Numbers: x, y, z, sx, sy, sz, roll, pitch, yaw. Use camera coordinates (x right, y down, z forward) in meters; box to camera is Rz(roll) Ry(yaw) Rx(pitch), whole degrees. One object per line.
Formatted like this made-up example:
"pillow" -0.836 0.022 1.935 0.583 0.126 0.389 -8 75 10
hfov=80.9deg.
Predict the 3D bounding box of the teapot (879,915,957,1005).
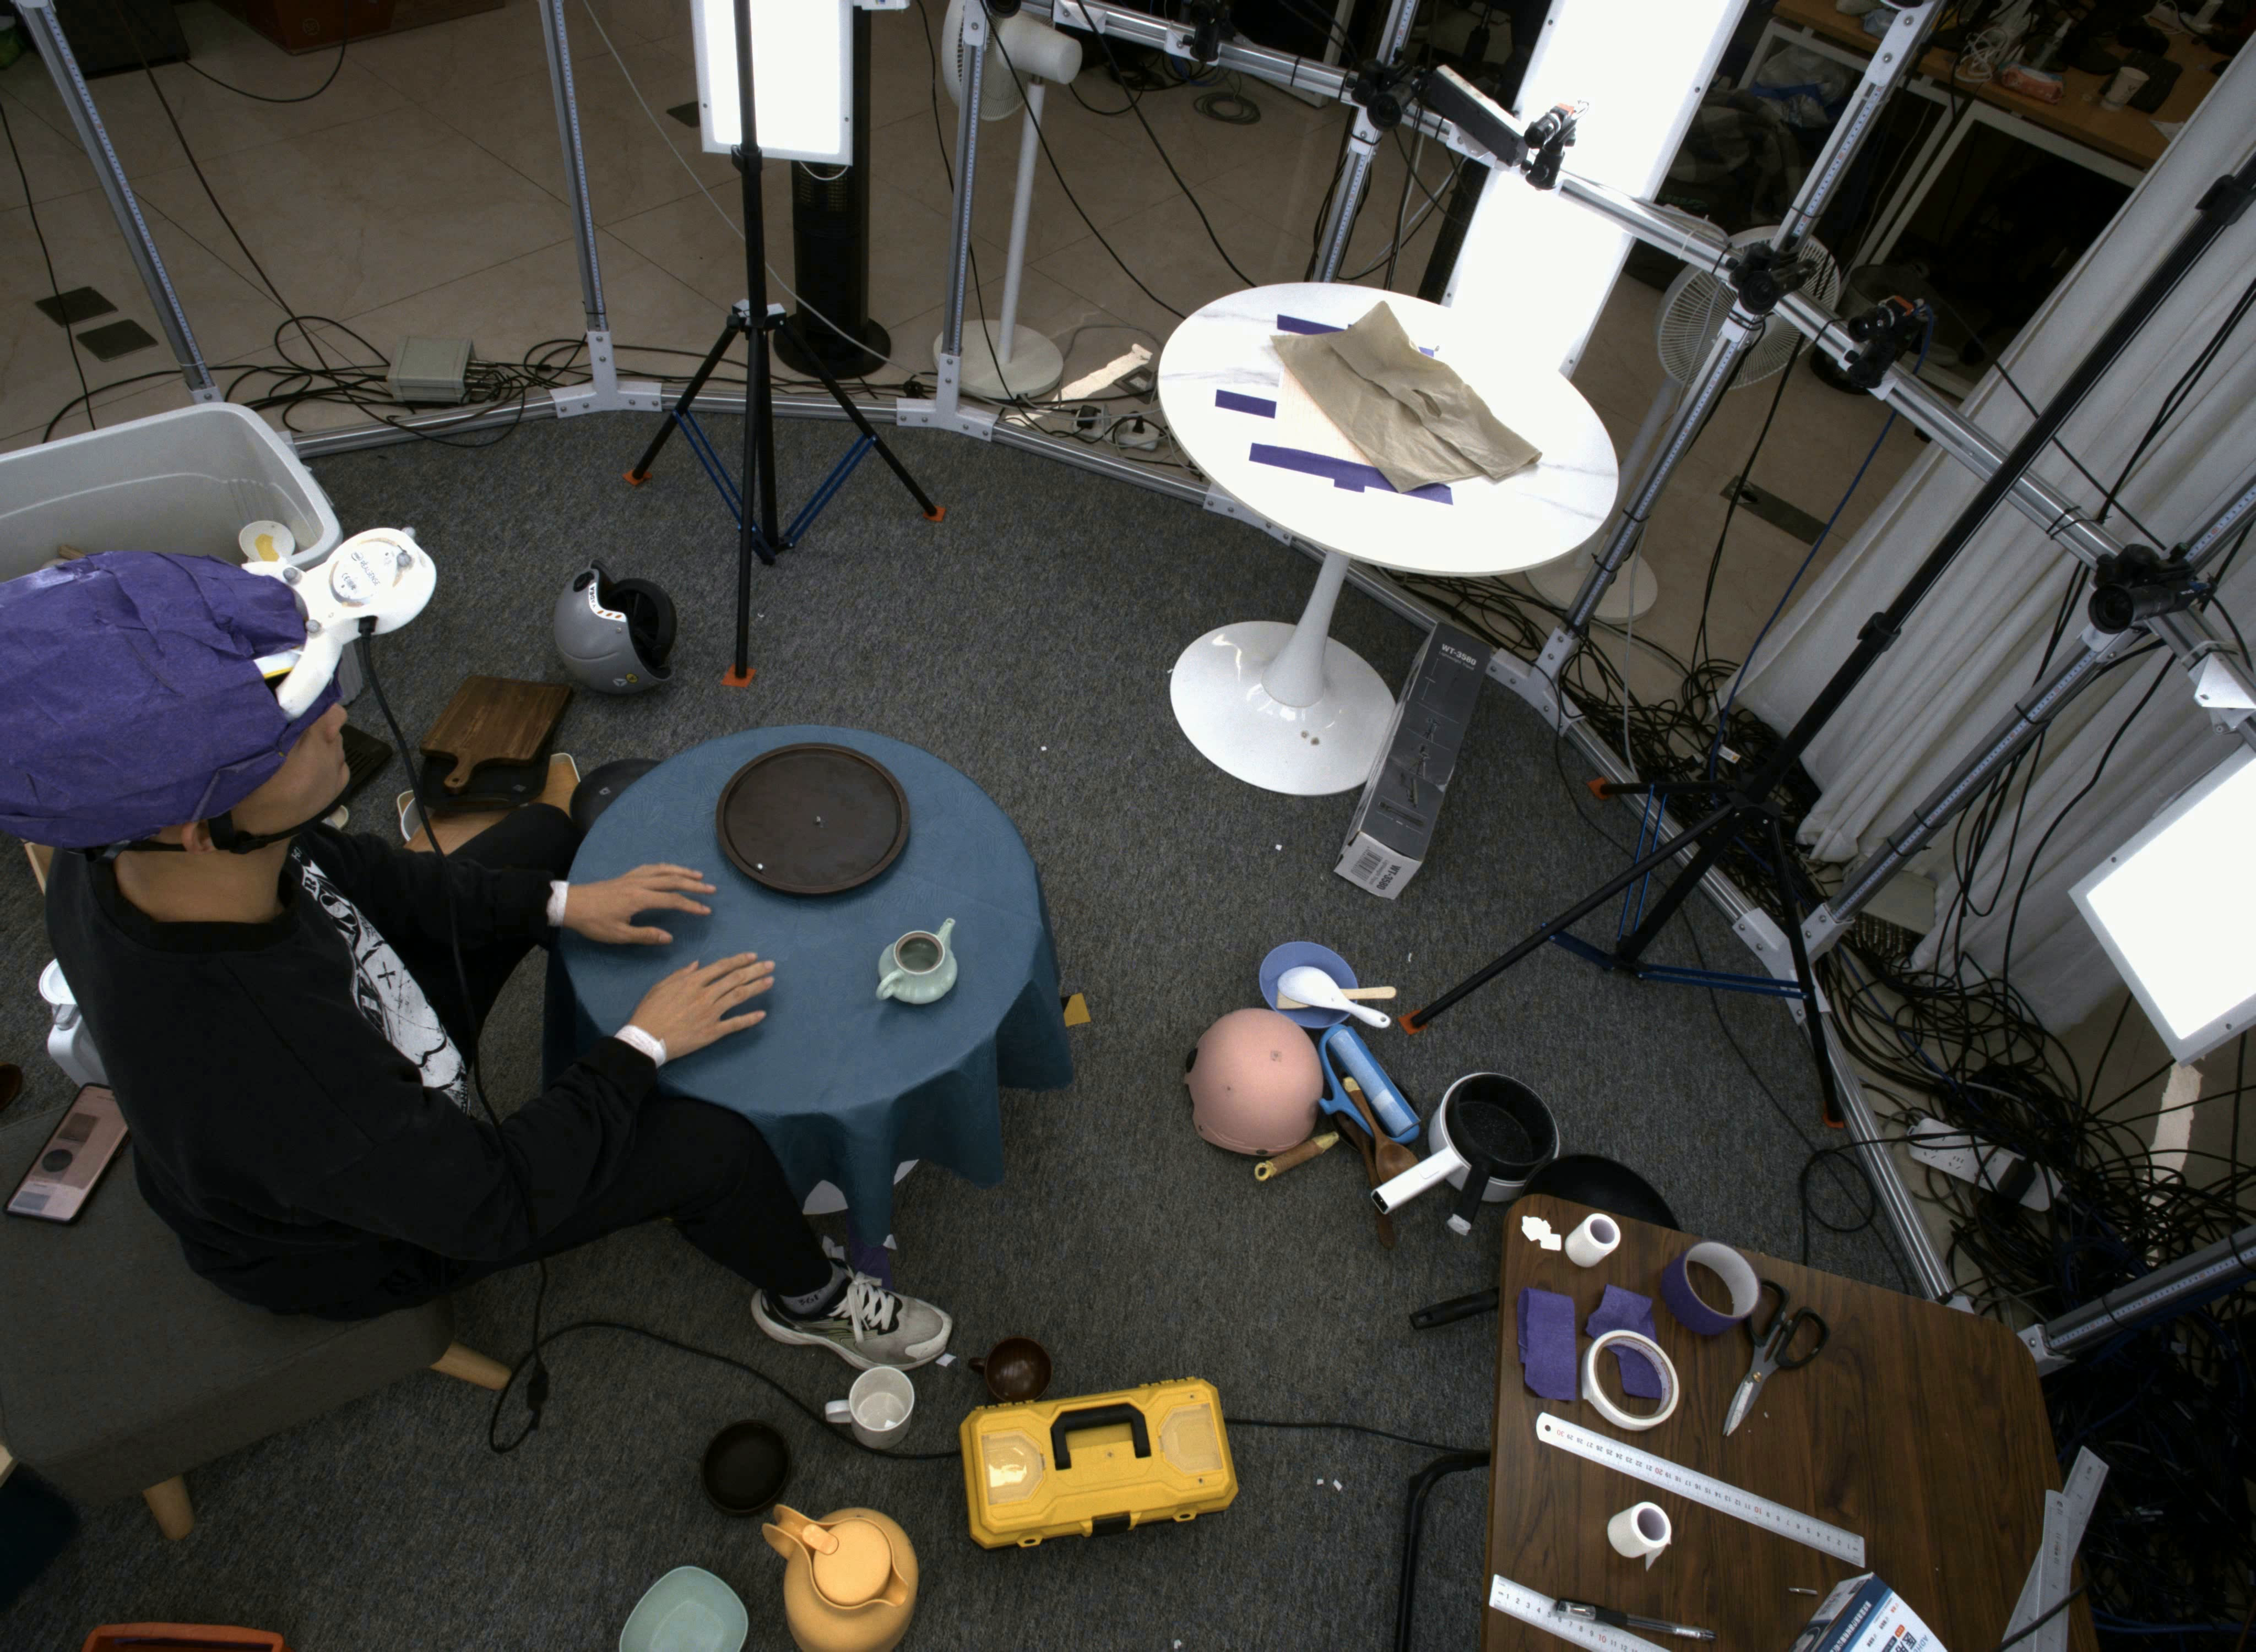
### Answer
"teapot" -0.260 0.169 1.599 0.094 0.062 0.136 33 53 11

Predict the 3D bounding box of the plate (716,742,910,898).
"plate" -0.416 -0.011 1.716 0.254 0.029 0.250 9 52 -10
